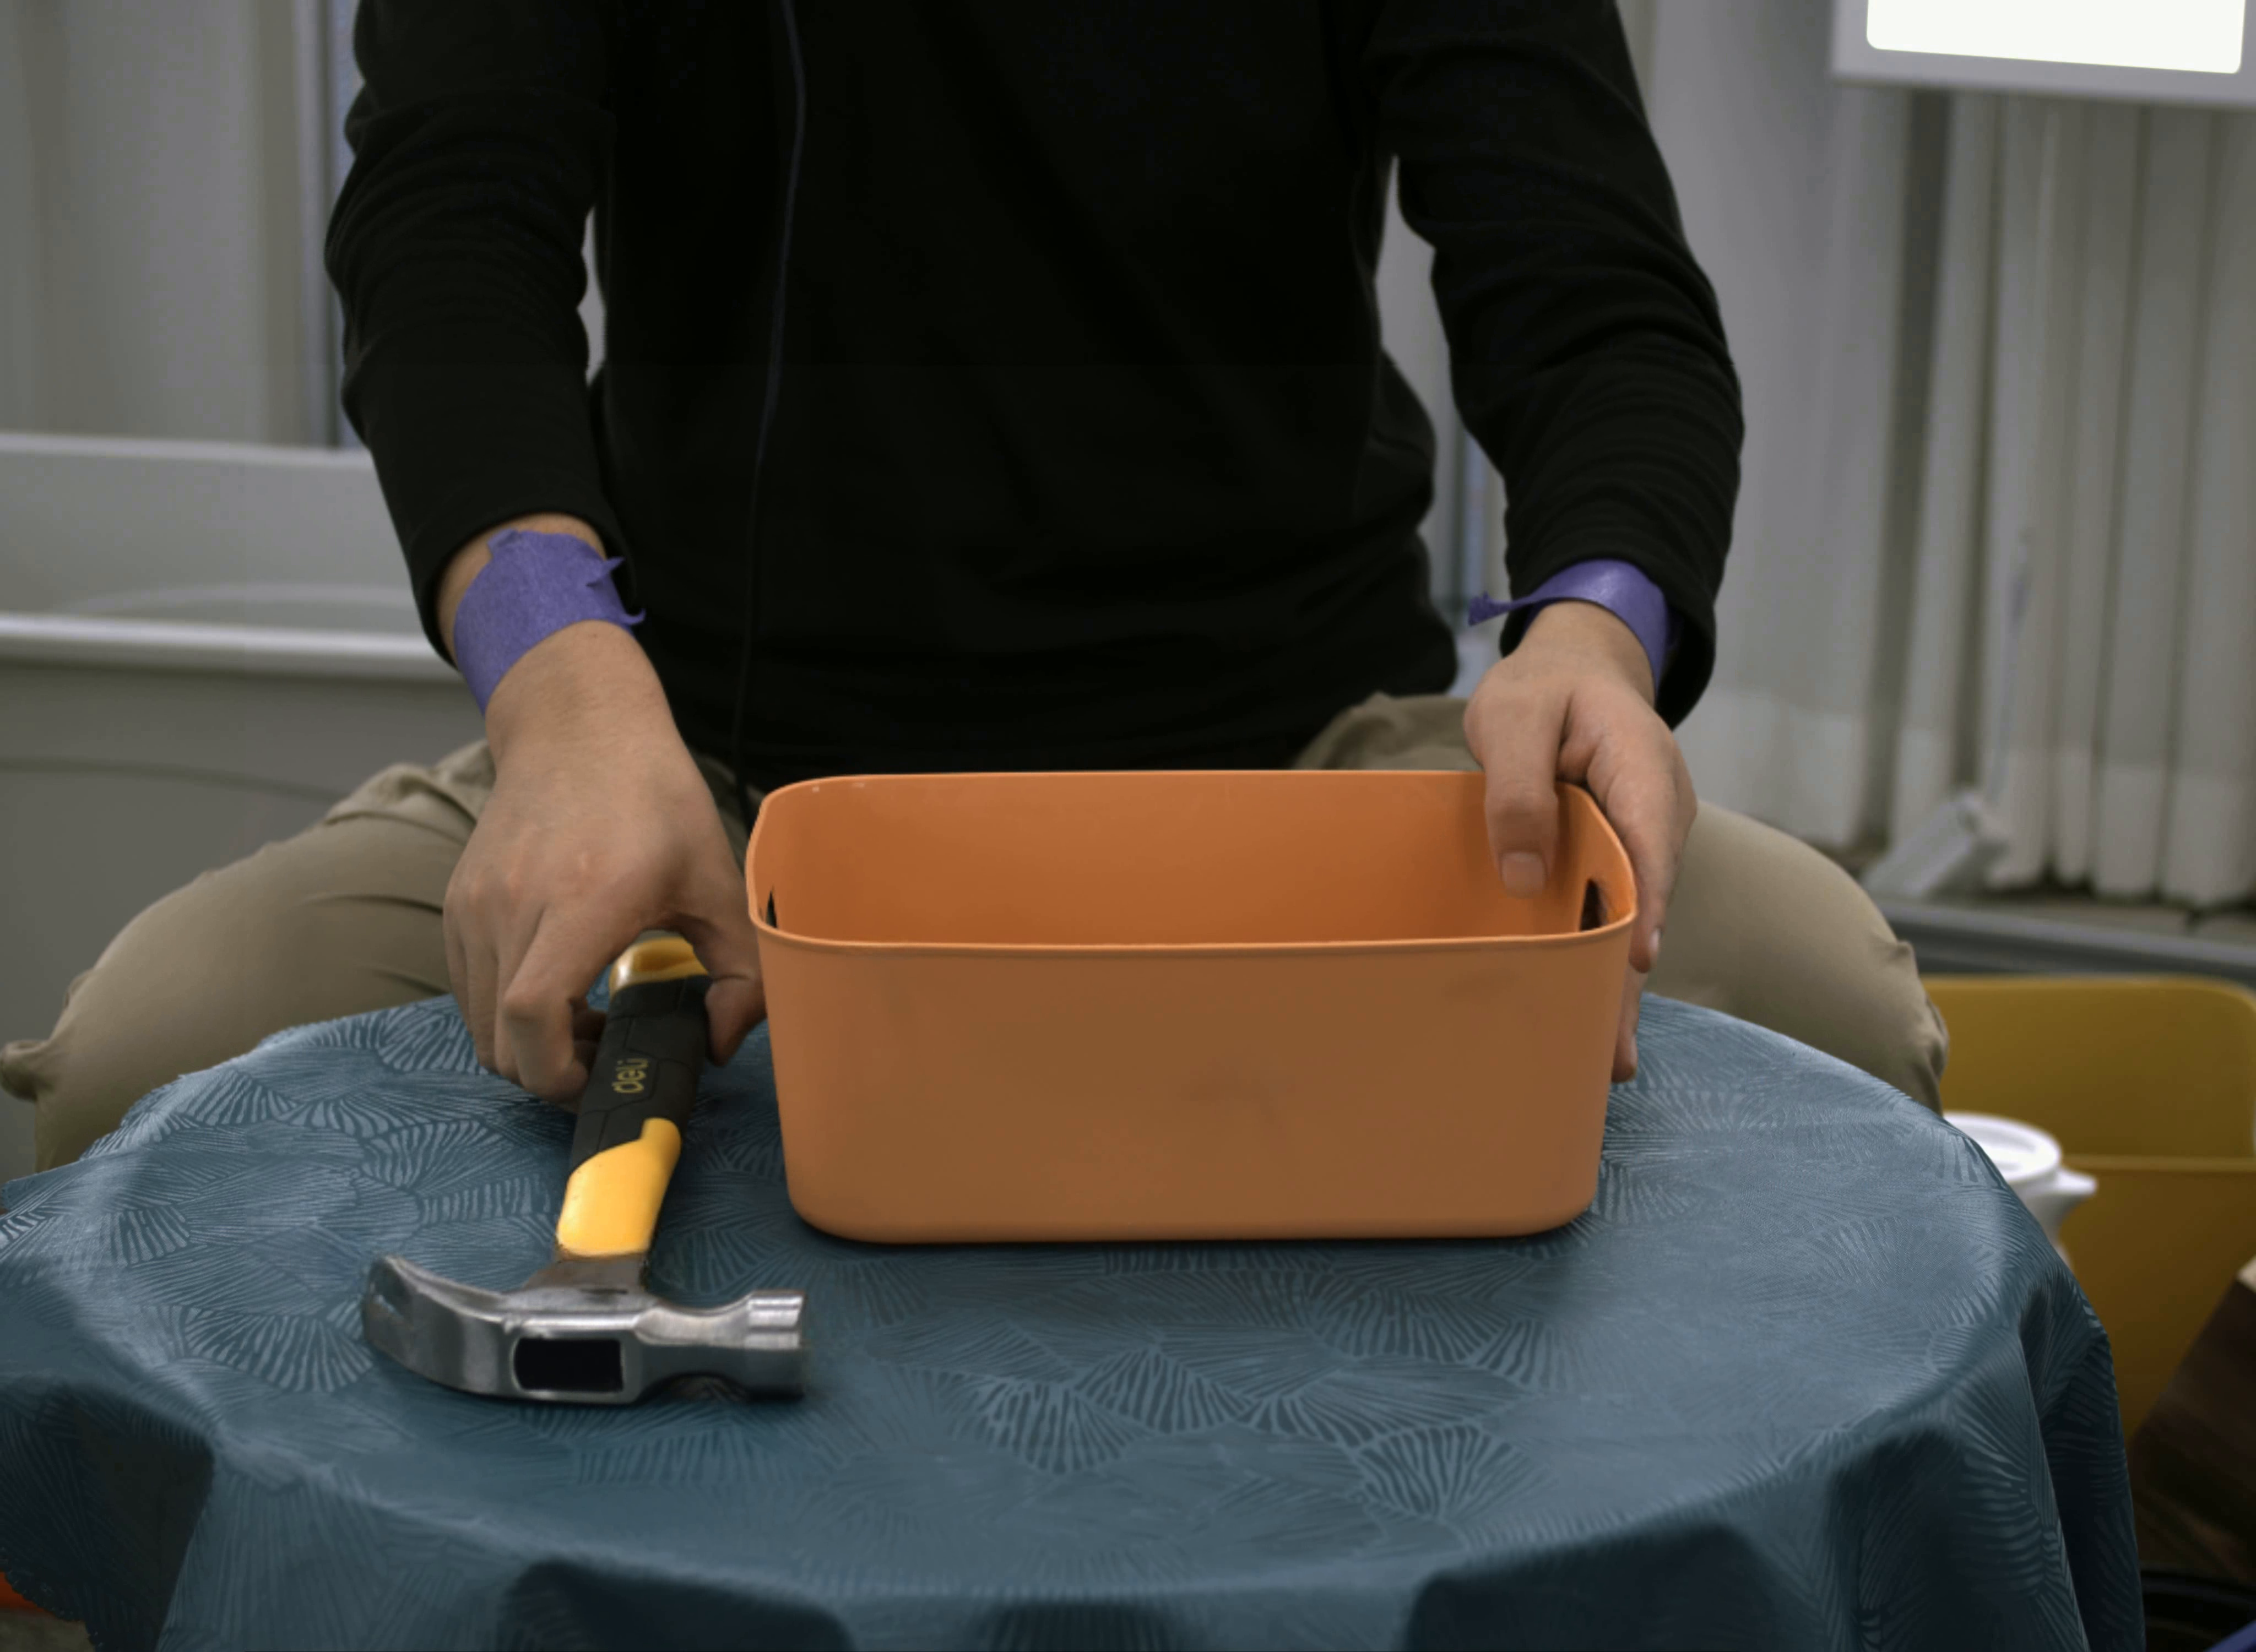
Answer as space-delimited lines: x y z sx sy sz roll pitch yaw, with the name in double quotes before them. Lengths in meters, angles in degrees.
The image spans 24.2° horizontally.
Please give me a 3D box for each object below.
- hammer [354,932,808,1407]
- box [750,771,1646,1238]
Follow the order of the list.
"hammer" -0.152 0.096 1.598 0.131 0.032 0.336 1 18 1
"box" 0.018 0.054 1.638 0.272 0.103 0.198 0 15 -3
